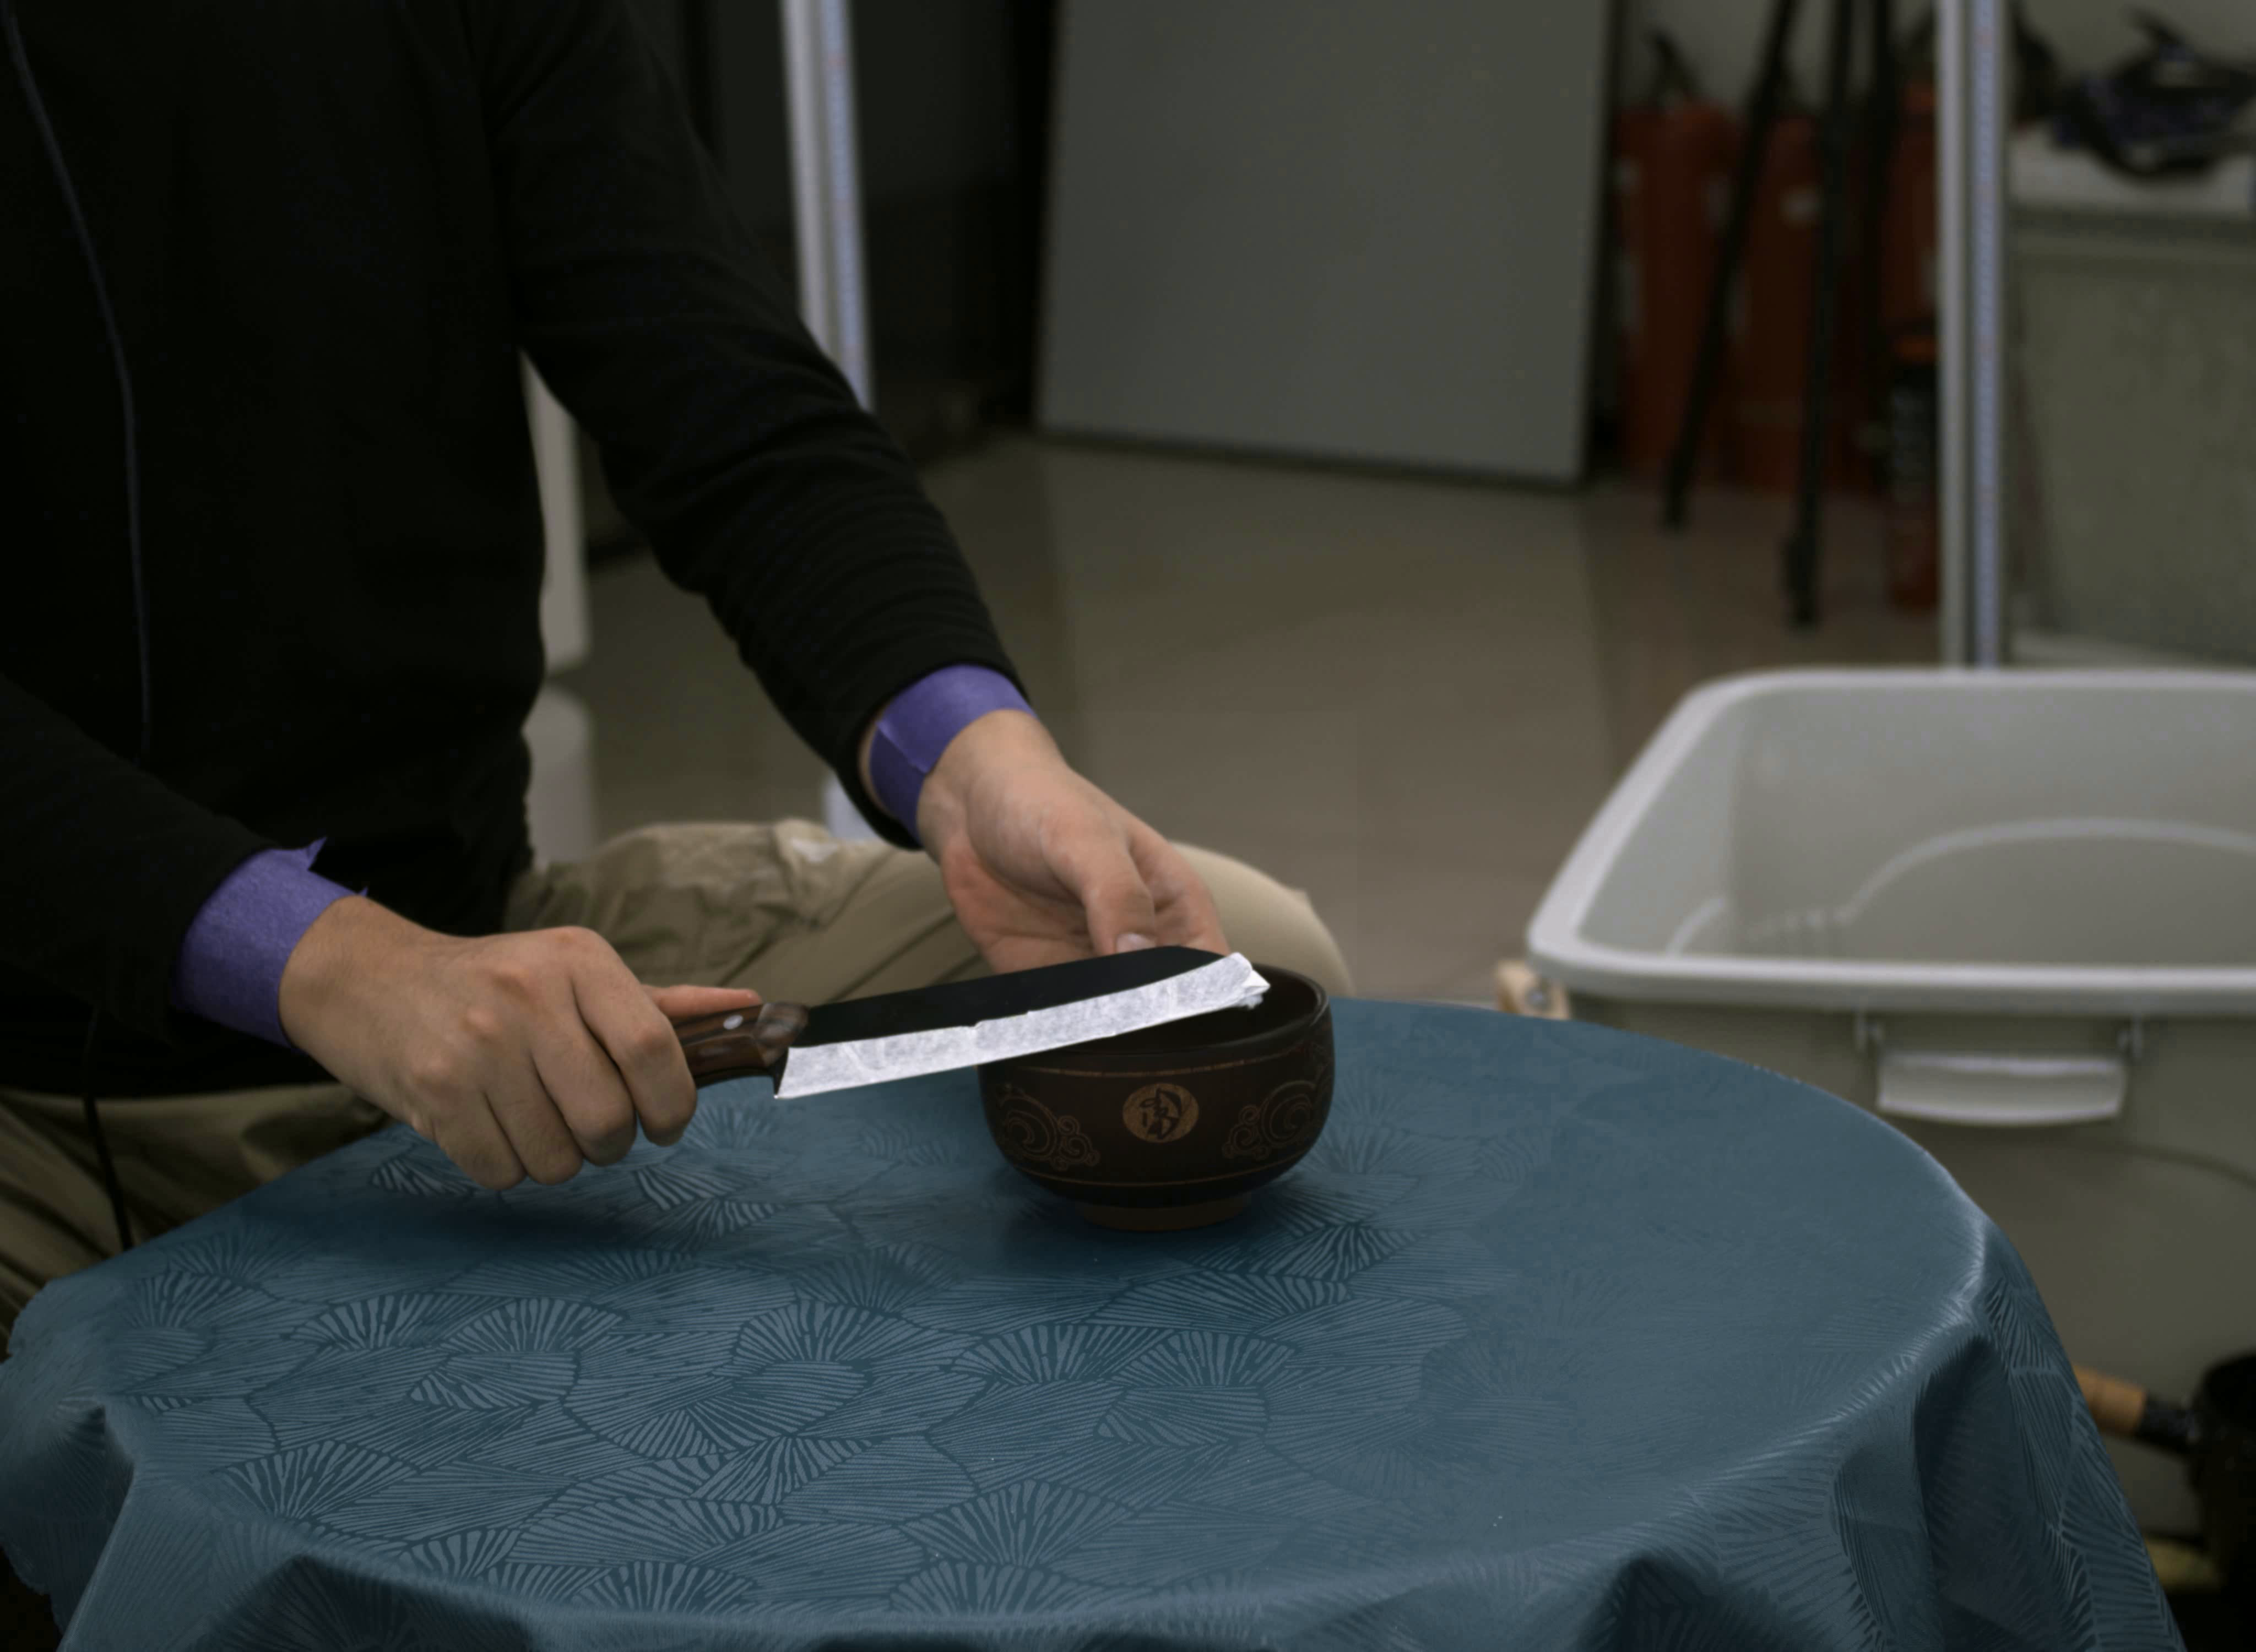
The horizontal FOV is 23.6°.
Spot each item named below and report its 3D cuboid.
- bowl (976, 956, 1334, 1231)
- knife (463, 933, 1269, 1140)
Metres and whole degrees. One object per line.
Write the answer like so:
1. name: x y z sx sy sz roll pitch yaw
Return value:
1. bowl: 0.010 0.090 1.748 0.116 0.070 0.118 -5 12 0
2. knife: -0.087 0.069 1.734 0.289 0.020 0.050 -10 38 22
